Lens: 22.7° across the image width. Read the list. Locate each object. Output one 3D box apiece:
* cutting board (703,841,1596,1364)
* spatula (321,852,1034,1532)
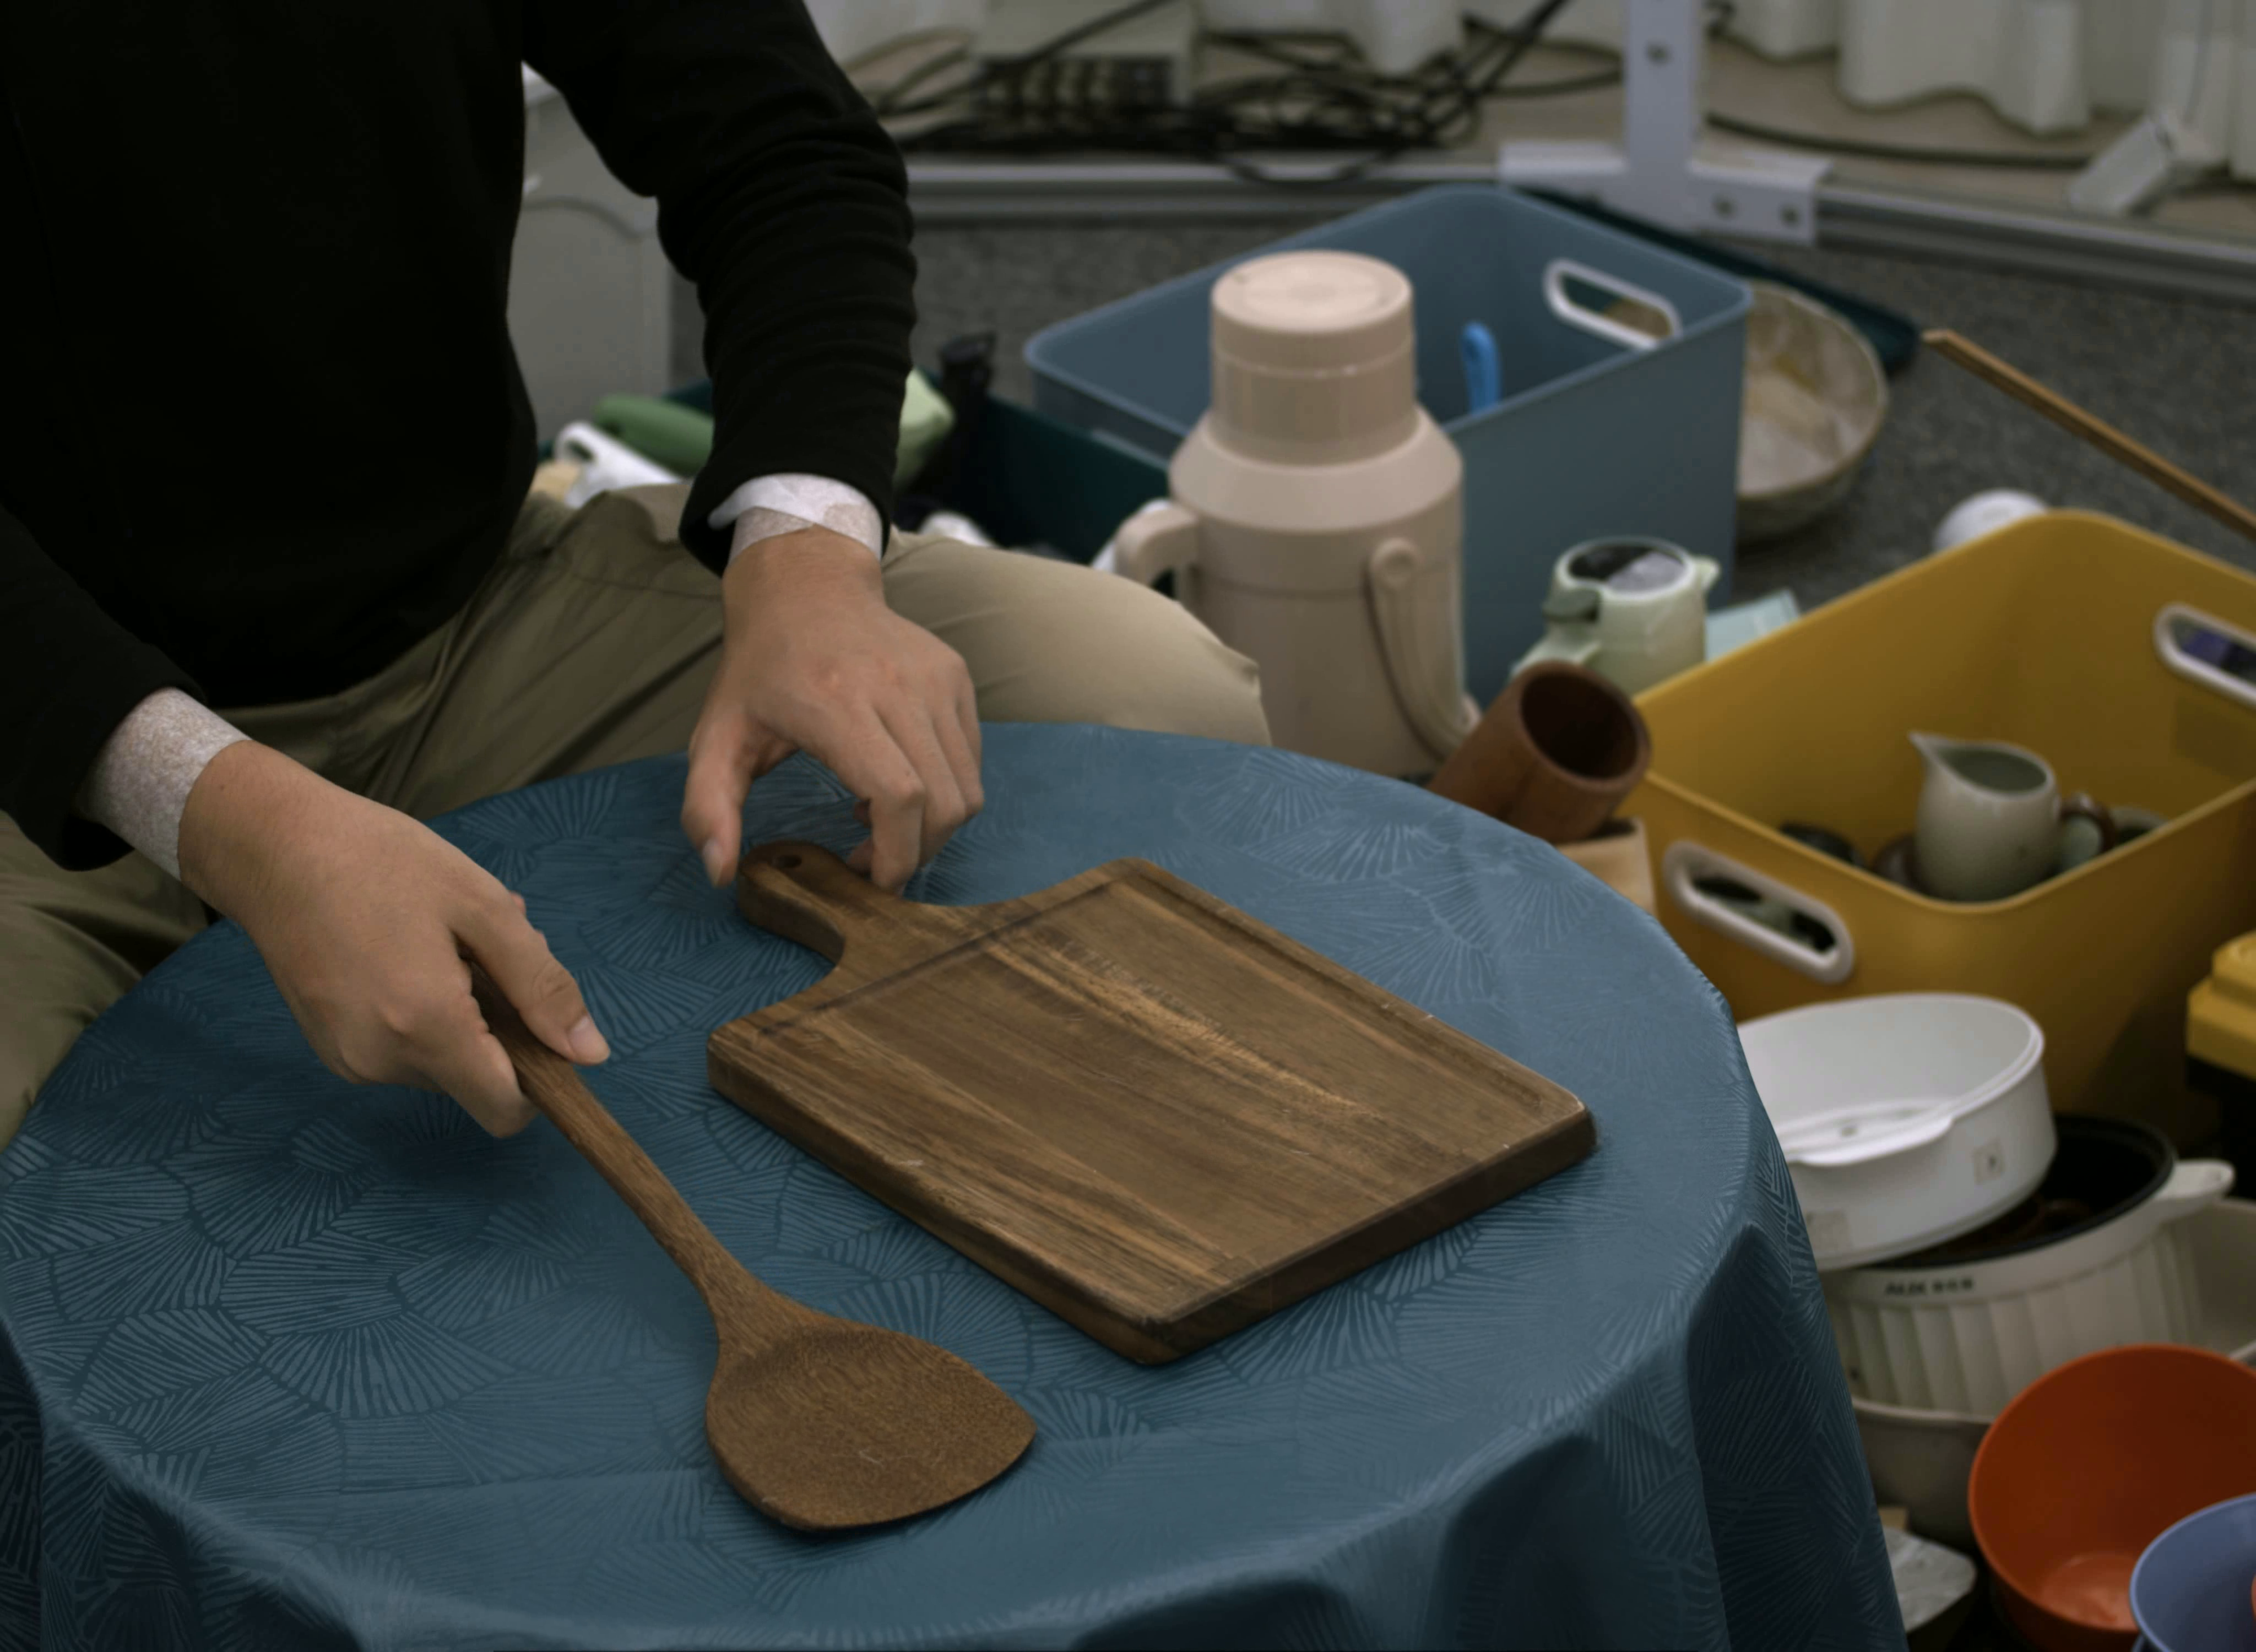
[{"bbox_3d":[-0.026,0.074,1.934,0.203,0.023,0.352,-22,33,-33],"label":"cutting board"},{"bbox_3d":[-0.166,0.109,1.825,0.097,0.015,0.388,-17,41,-30],"label":"spatula"}]
